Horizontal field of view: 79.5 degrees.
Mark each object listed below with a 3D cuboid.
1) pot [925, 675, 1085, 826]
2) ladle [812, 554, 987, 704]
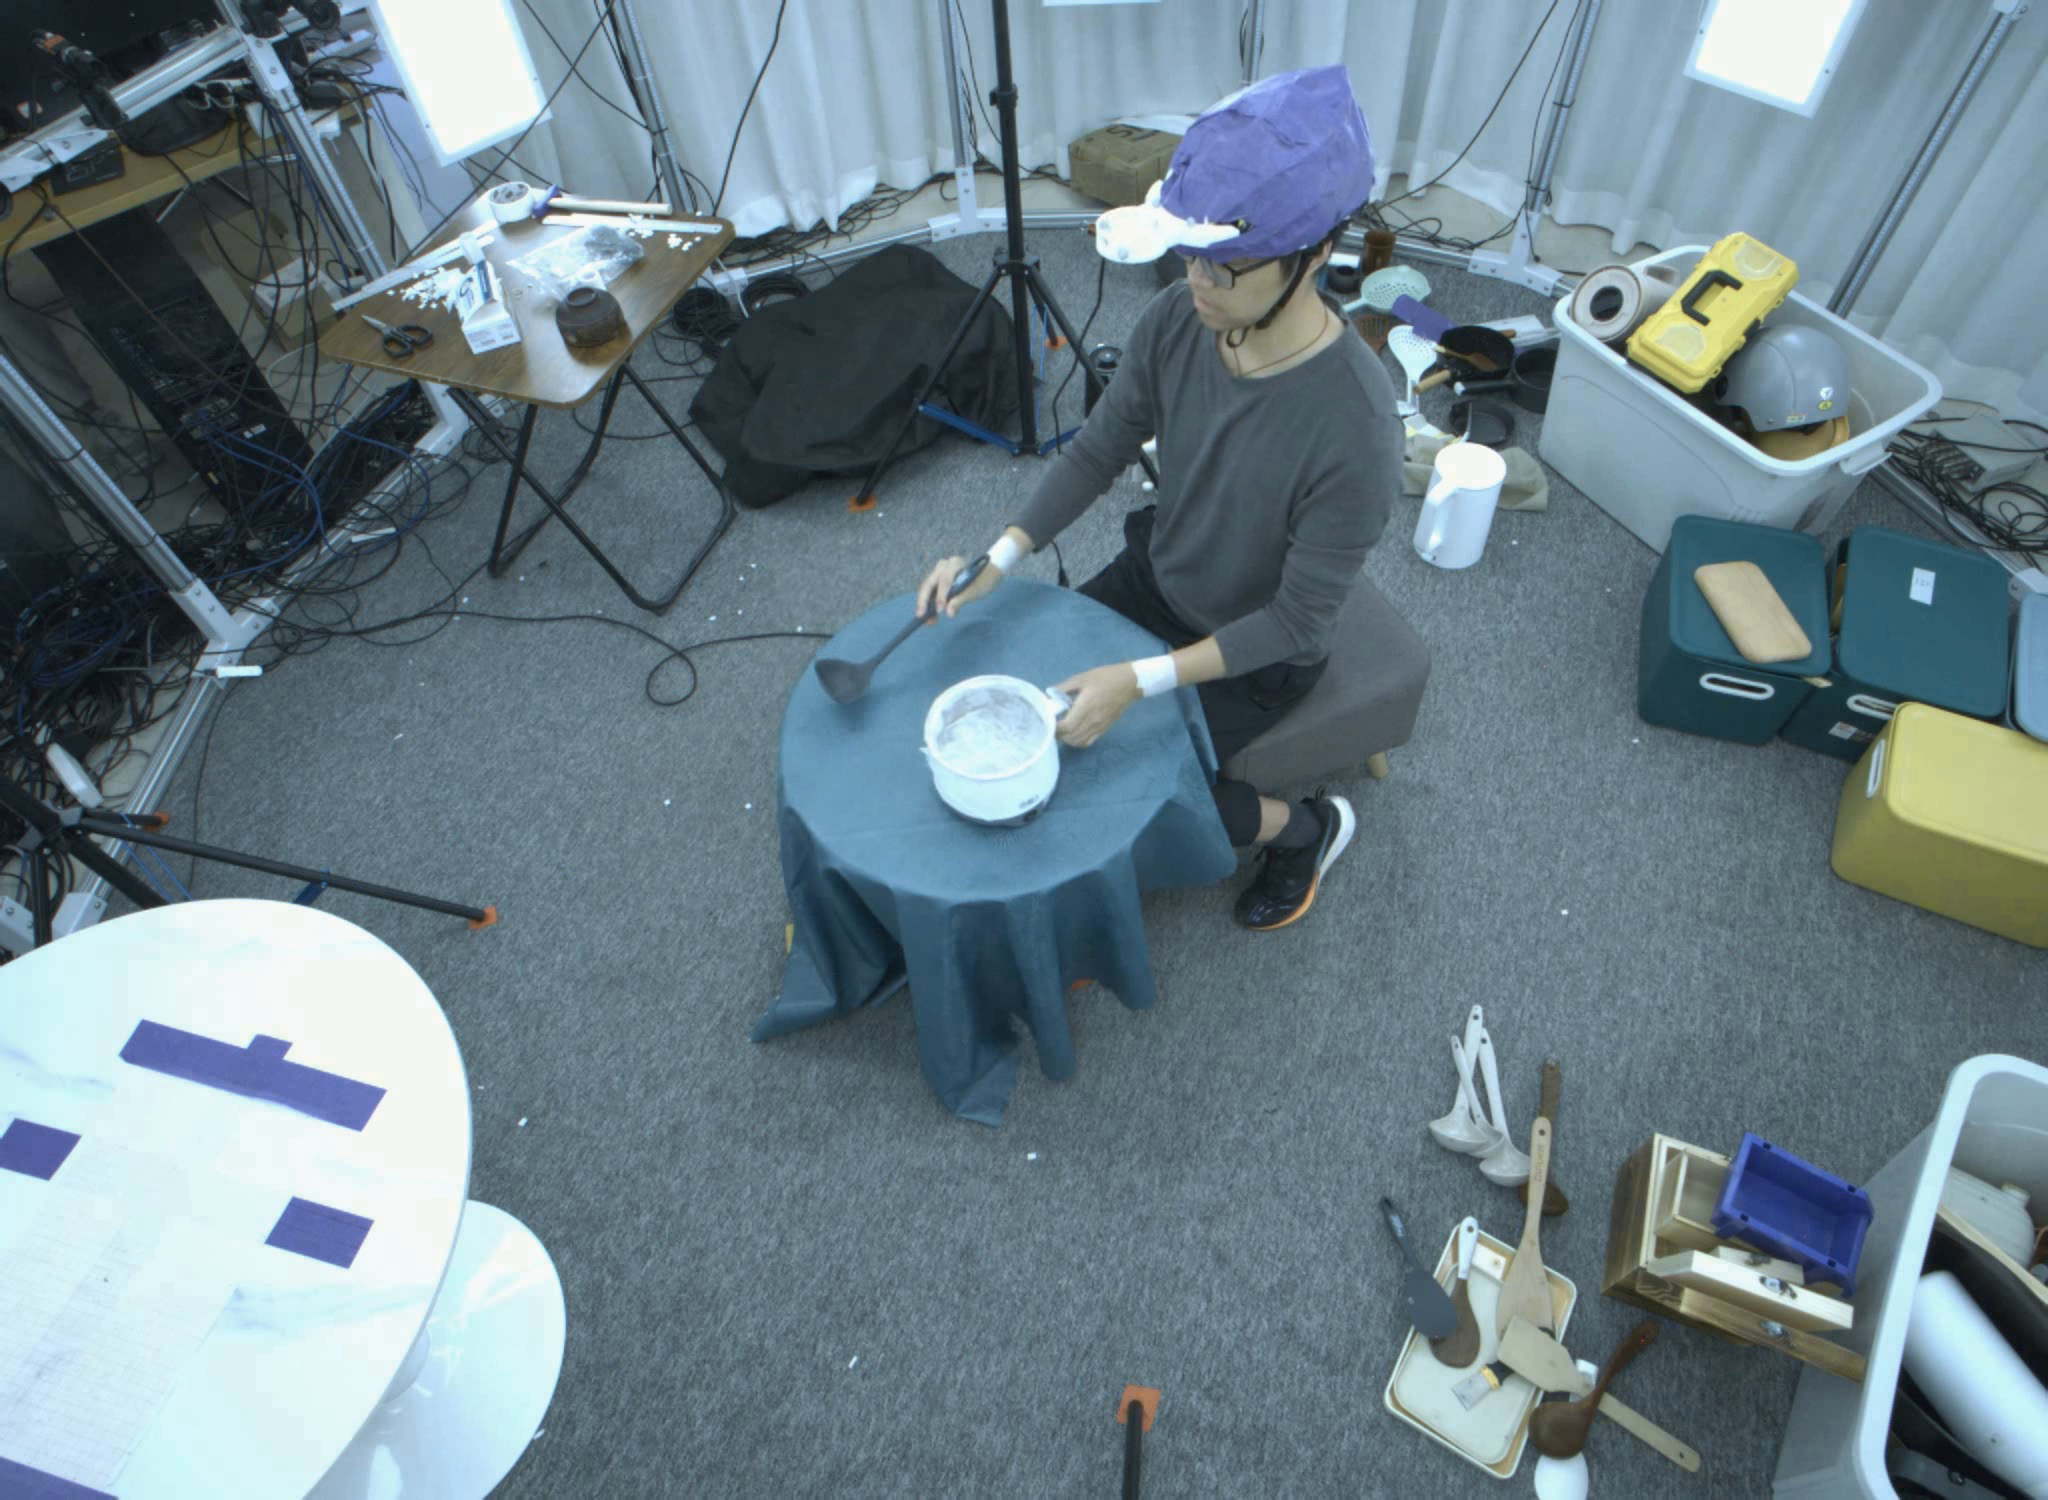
[{"bbox_3d":[-0.019,-0.009,1.717,0.235,0.138,0.175,-30,59,-19],"label":"pot"},{"bbox_3d":[-0.179,-0.187,1.800,0.313,0.065,0.085,-42,75,5],"label":"ladle"}]
